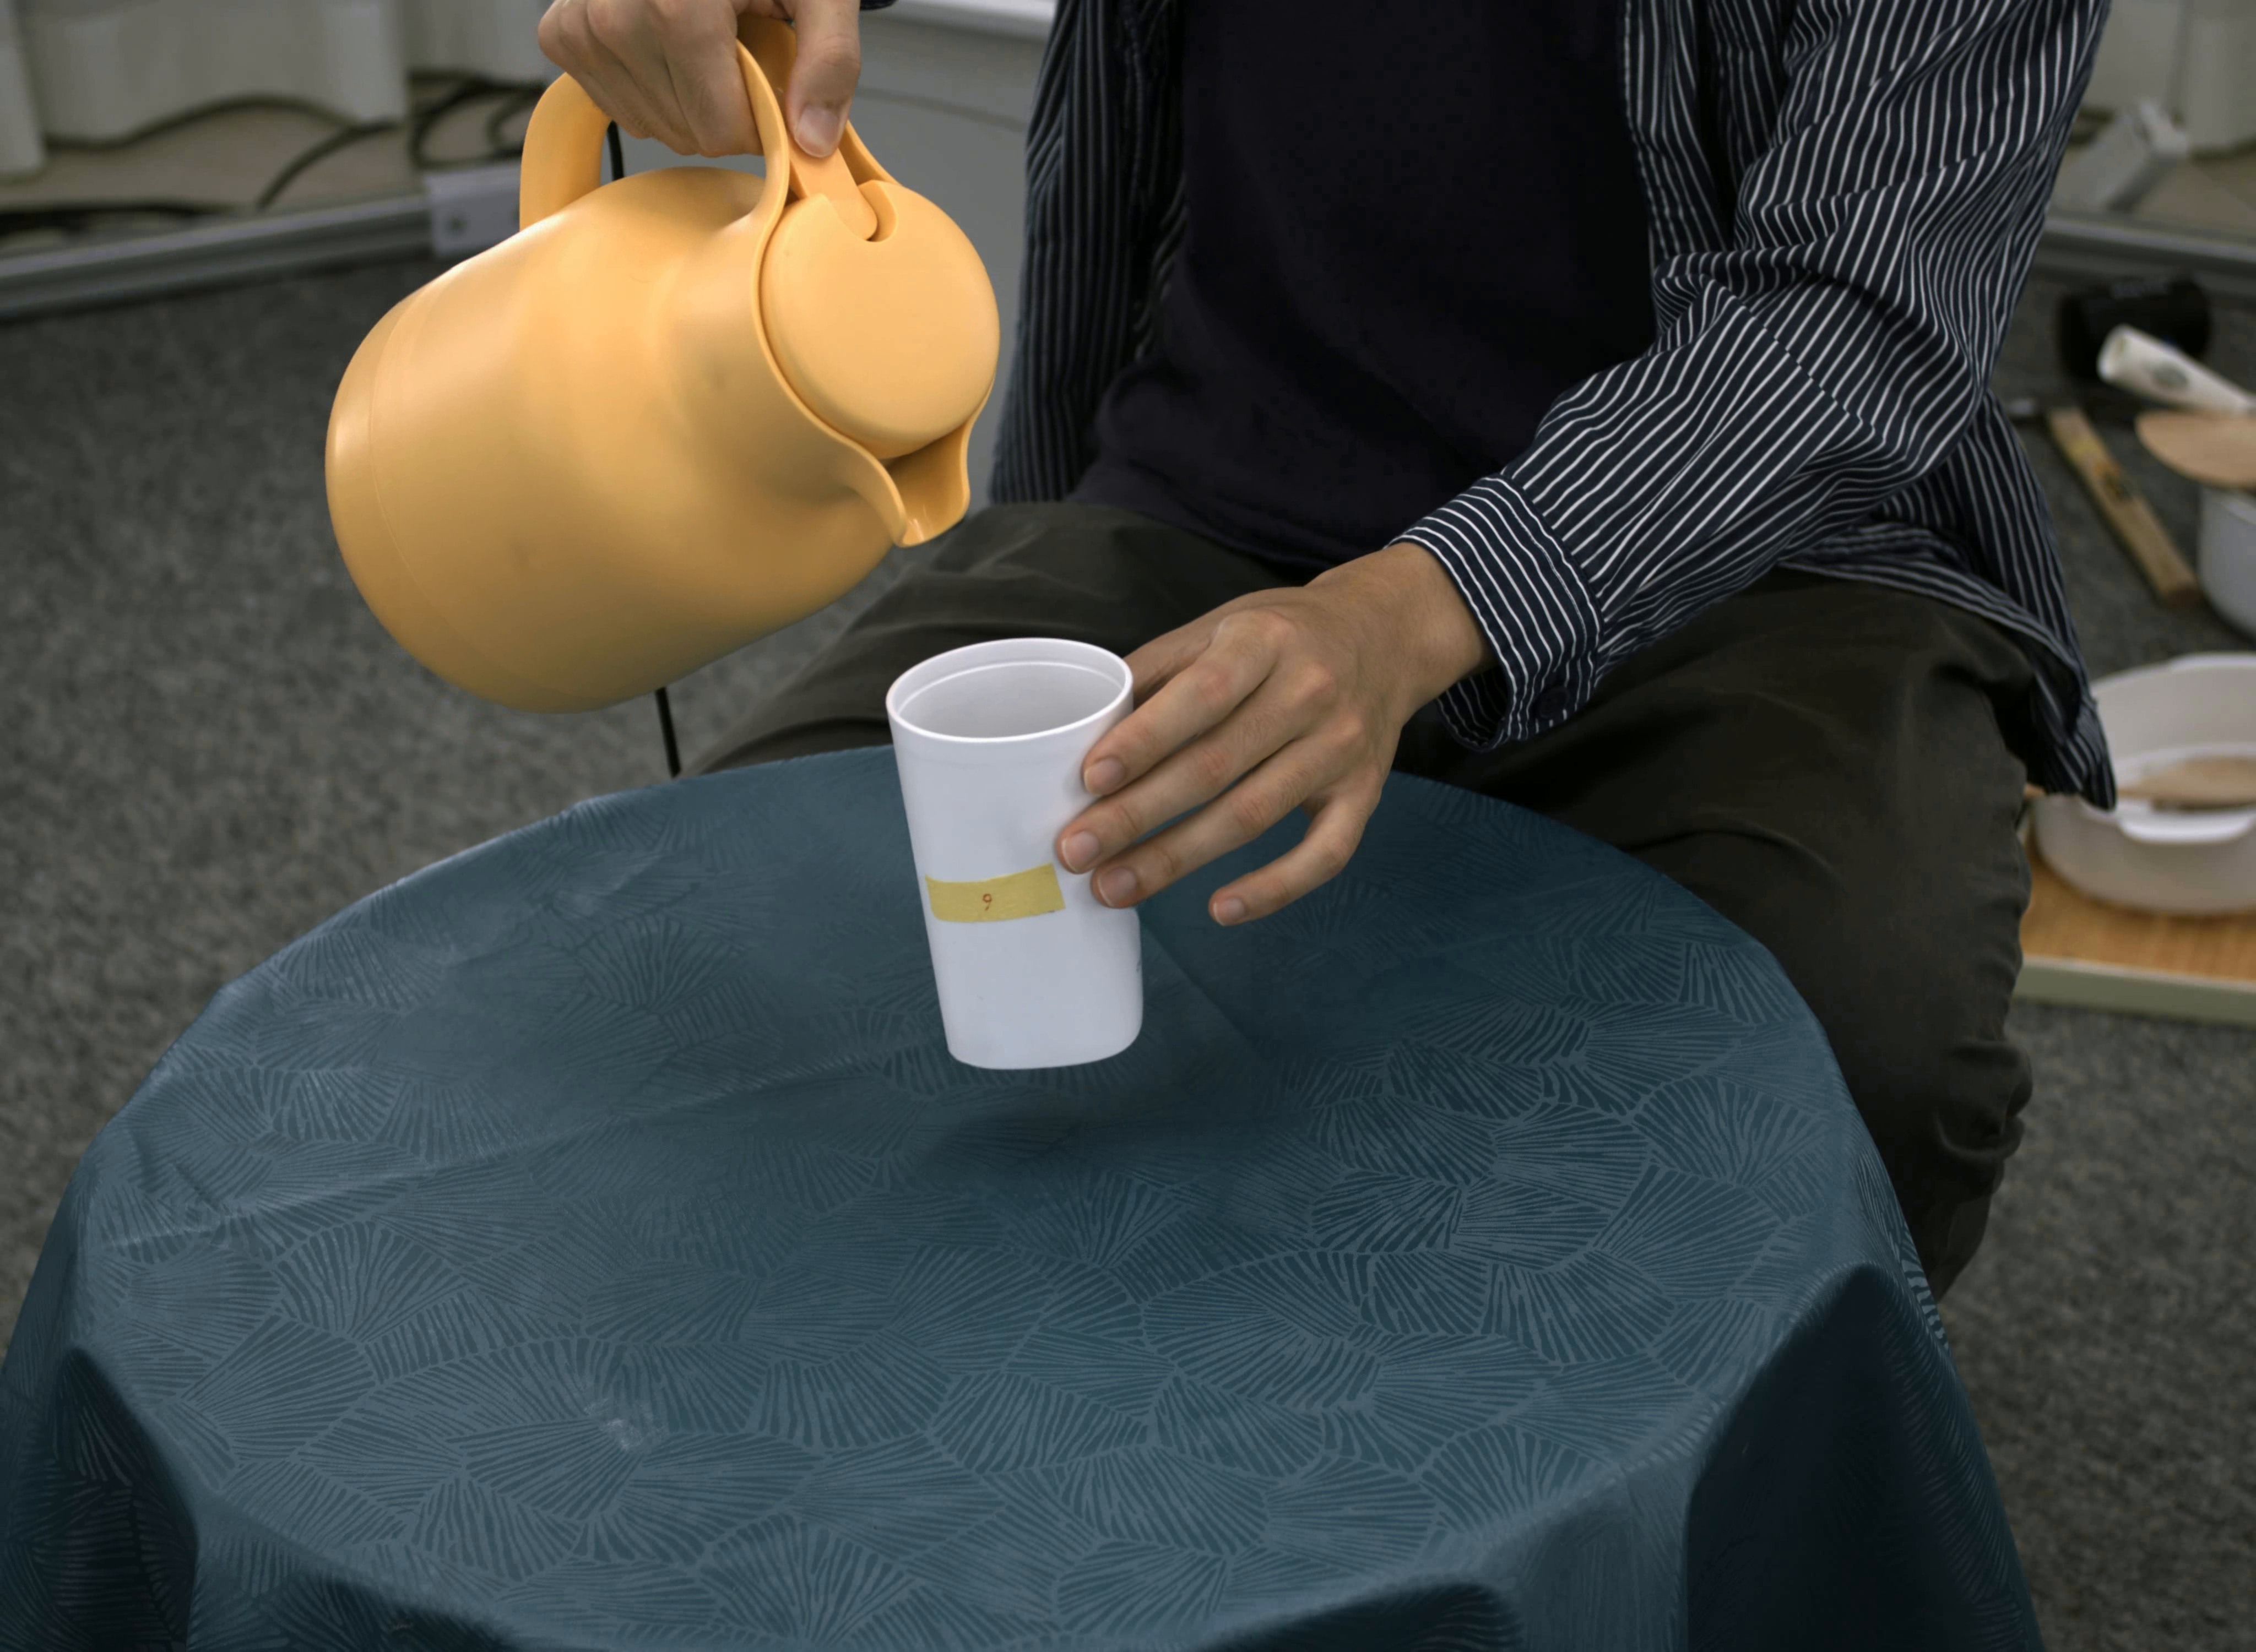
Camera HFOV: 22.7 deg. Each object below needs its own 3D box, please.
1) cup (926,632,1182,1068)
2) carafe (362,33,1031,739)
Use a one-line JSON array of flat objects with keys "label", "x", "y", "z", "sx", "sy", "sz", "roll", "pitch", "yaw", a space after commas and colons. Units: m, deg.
[{"label": "cup", "x": -0.020, "y": 0.010, "z": 1.846, "sx": 0.081, "sy": 0.124, "sz": 0.083, "roll": -4, "pitch": 23, "yaw": 2}, {"label": "carafe", "x": -0.143, "y": -0.150, "z": 1.906, "sx": 0.165, "sy": 0.203, "sz": 0.256, "roll": -17, "pitch": -3, "yaw": -40}]
